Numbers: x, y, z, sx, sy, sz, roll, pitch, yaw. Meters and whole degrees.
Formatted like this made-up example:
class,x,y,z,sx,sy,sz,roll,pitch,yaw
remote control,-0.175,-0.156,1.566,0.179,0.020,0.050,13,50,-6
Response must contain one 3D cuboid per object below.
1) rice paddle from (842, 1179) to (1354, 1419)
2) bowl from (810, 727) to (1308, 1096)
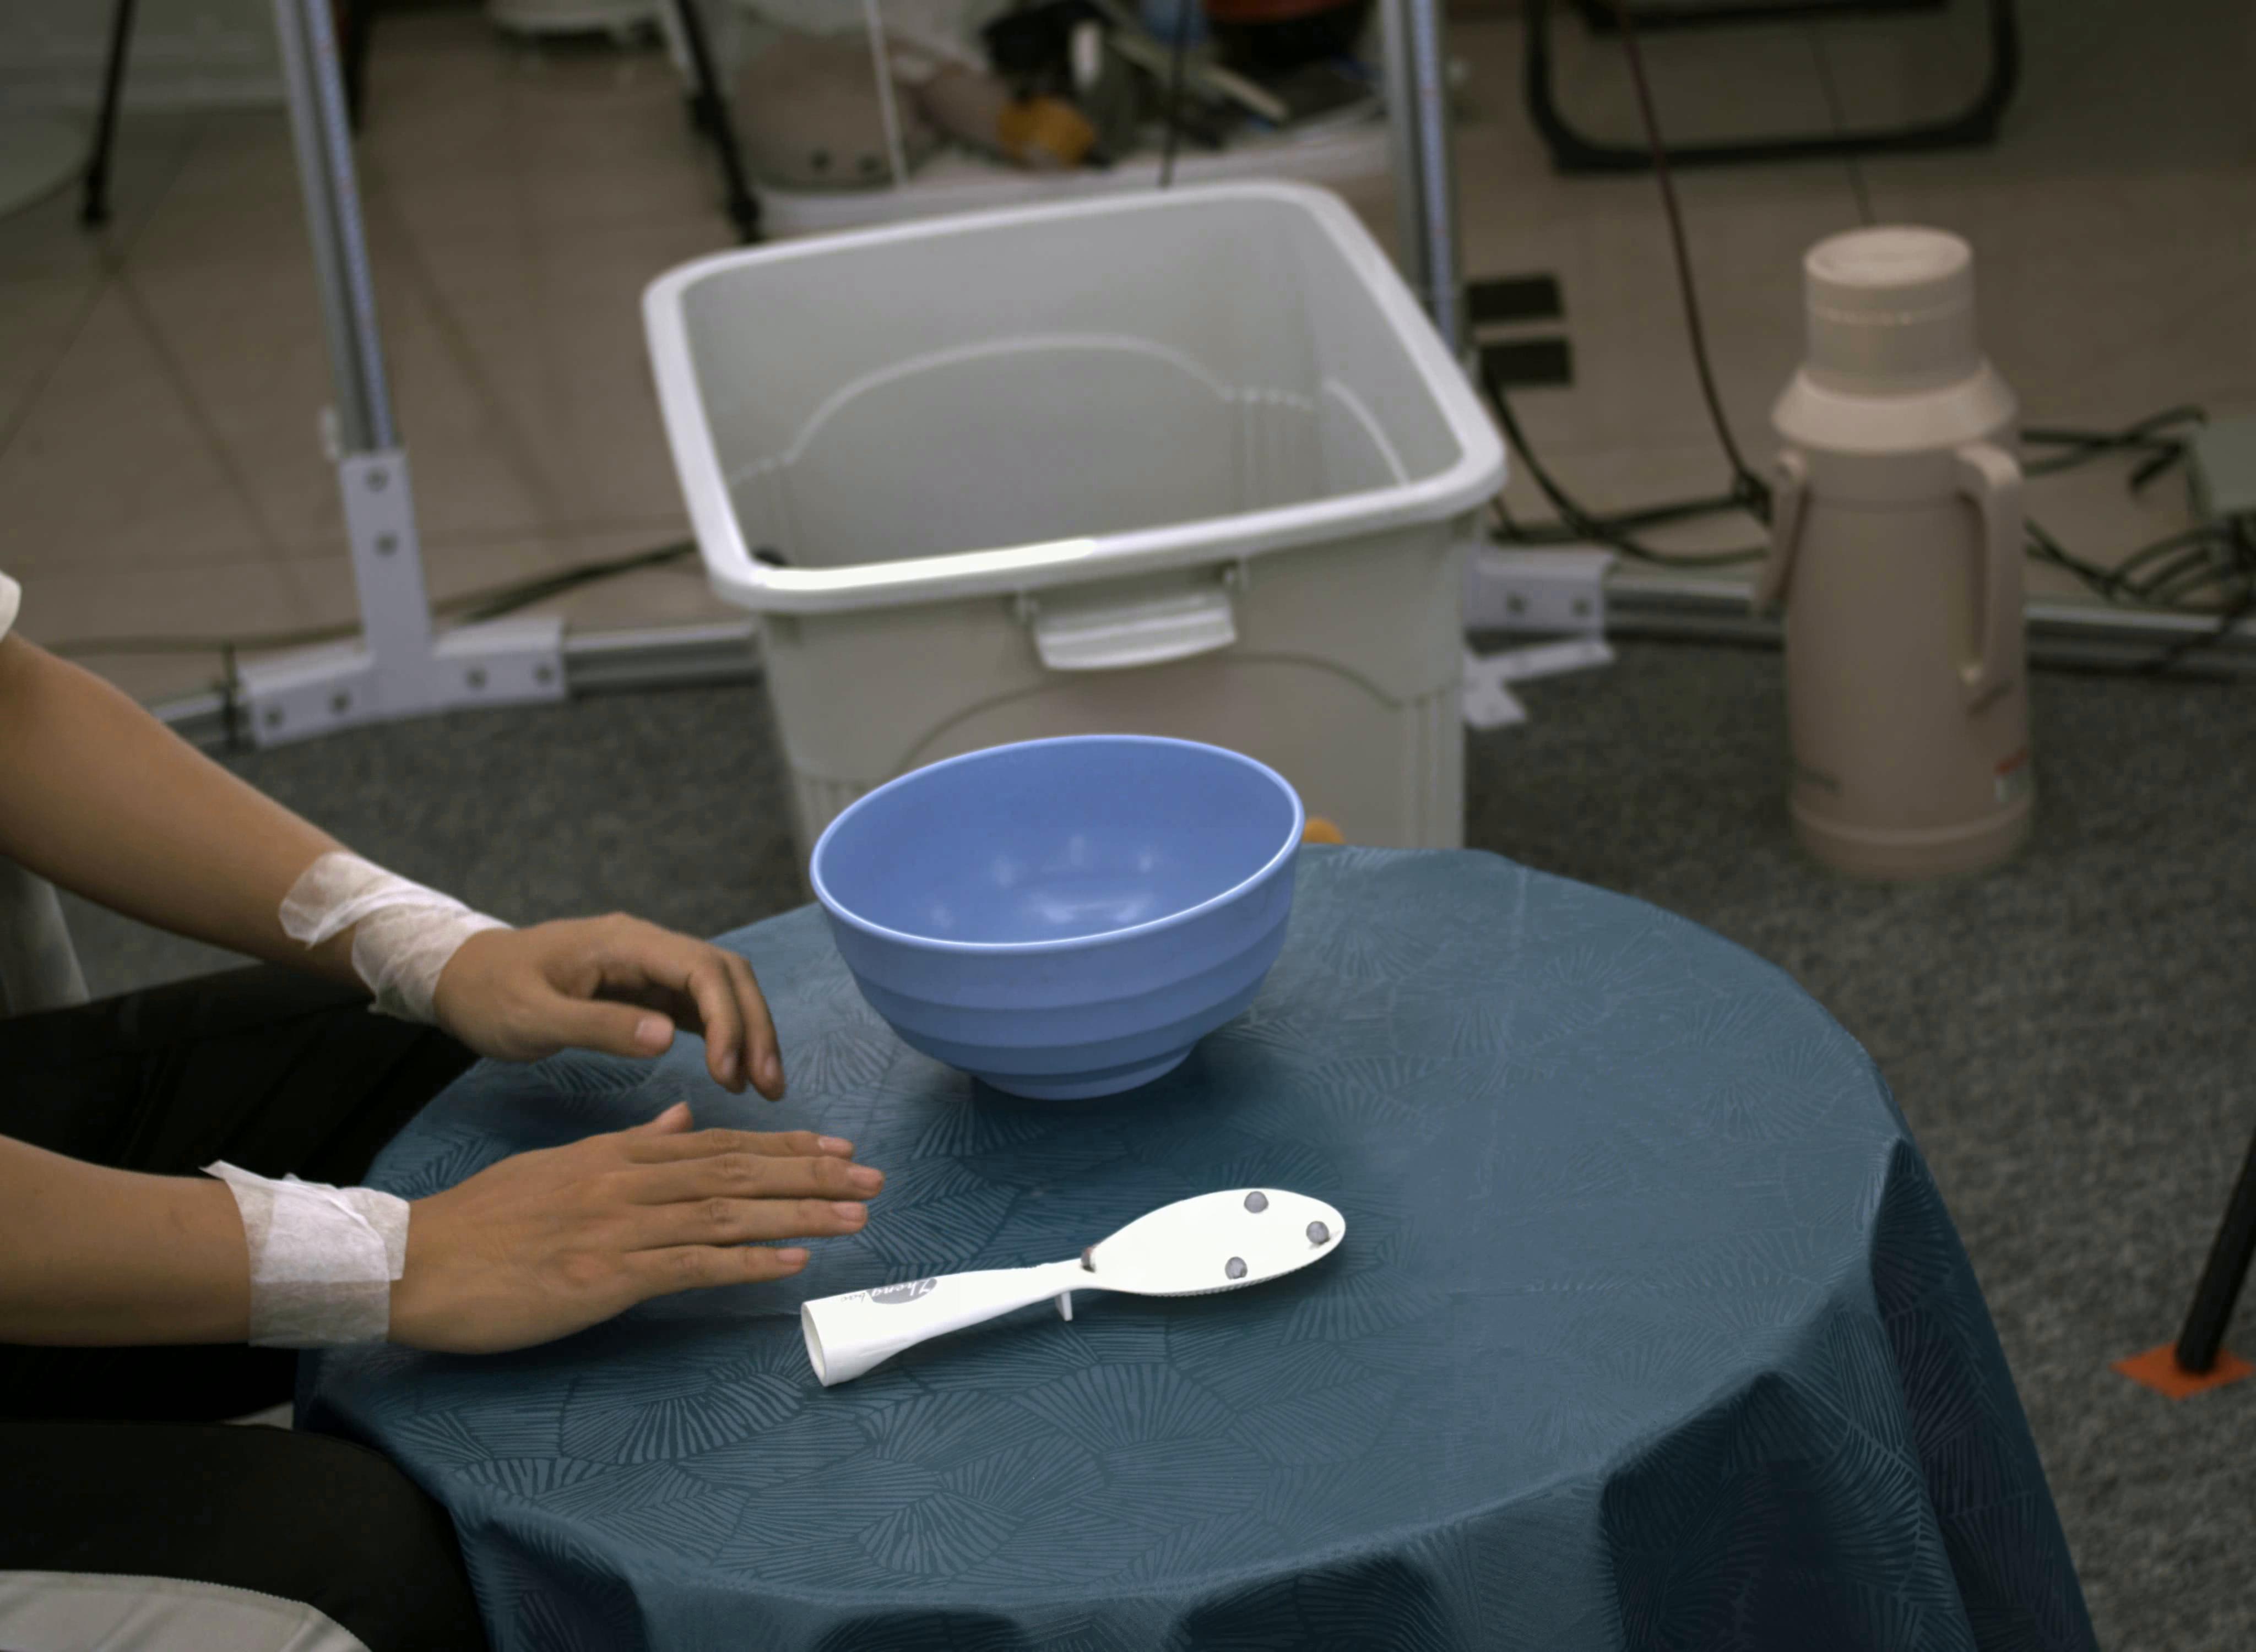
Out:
class,x,y,z,sx,sy,sz,roll,pitch,yaw
rice paddle,-0.008,0.165,2.074,0.204,0.030,0.068,-21,16,-21
bowl,-0.024,0.044,2.243,0.196,0.097,0.193,-4,26,2
